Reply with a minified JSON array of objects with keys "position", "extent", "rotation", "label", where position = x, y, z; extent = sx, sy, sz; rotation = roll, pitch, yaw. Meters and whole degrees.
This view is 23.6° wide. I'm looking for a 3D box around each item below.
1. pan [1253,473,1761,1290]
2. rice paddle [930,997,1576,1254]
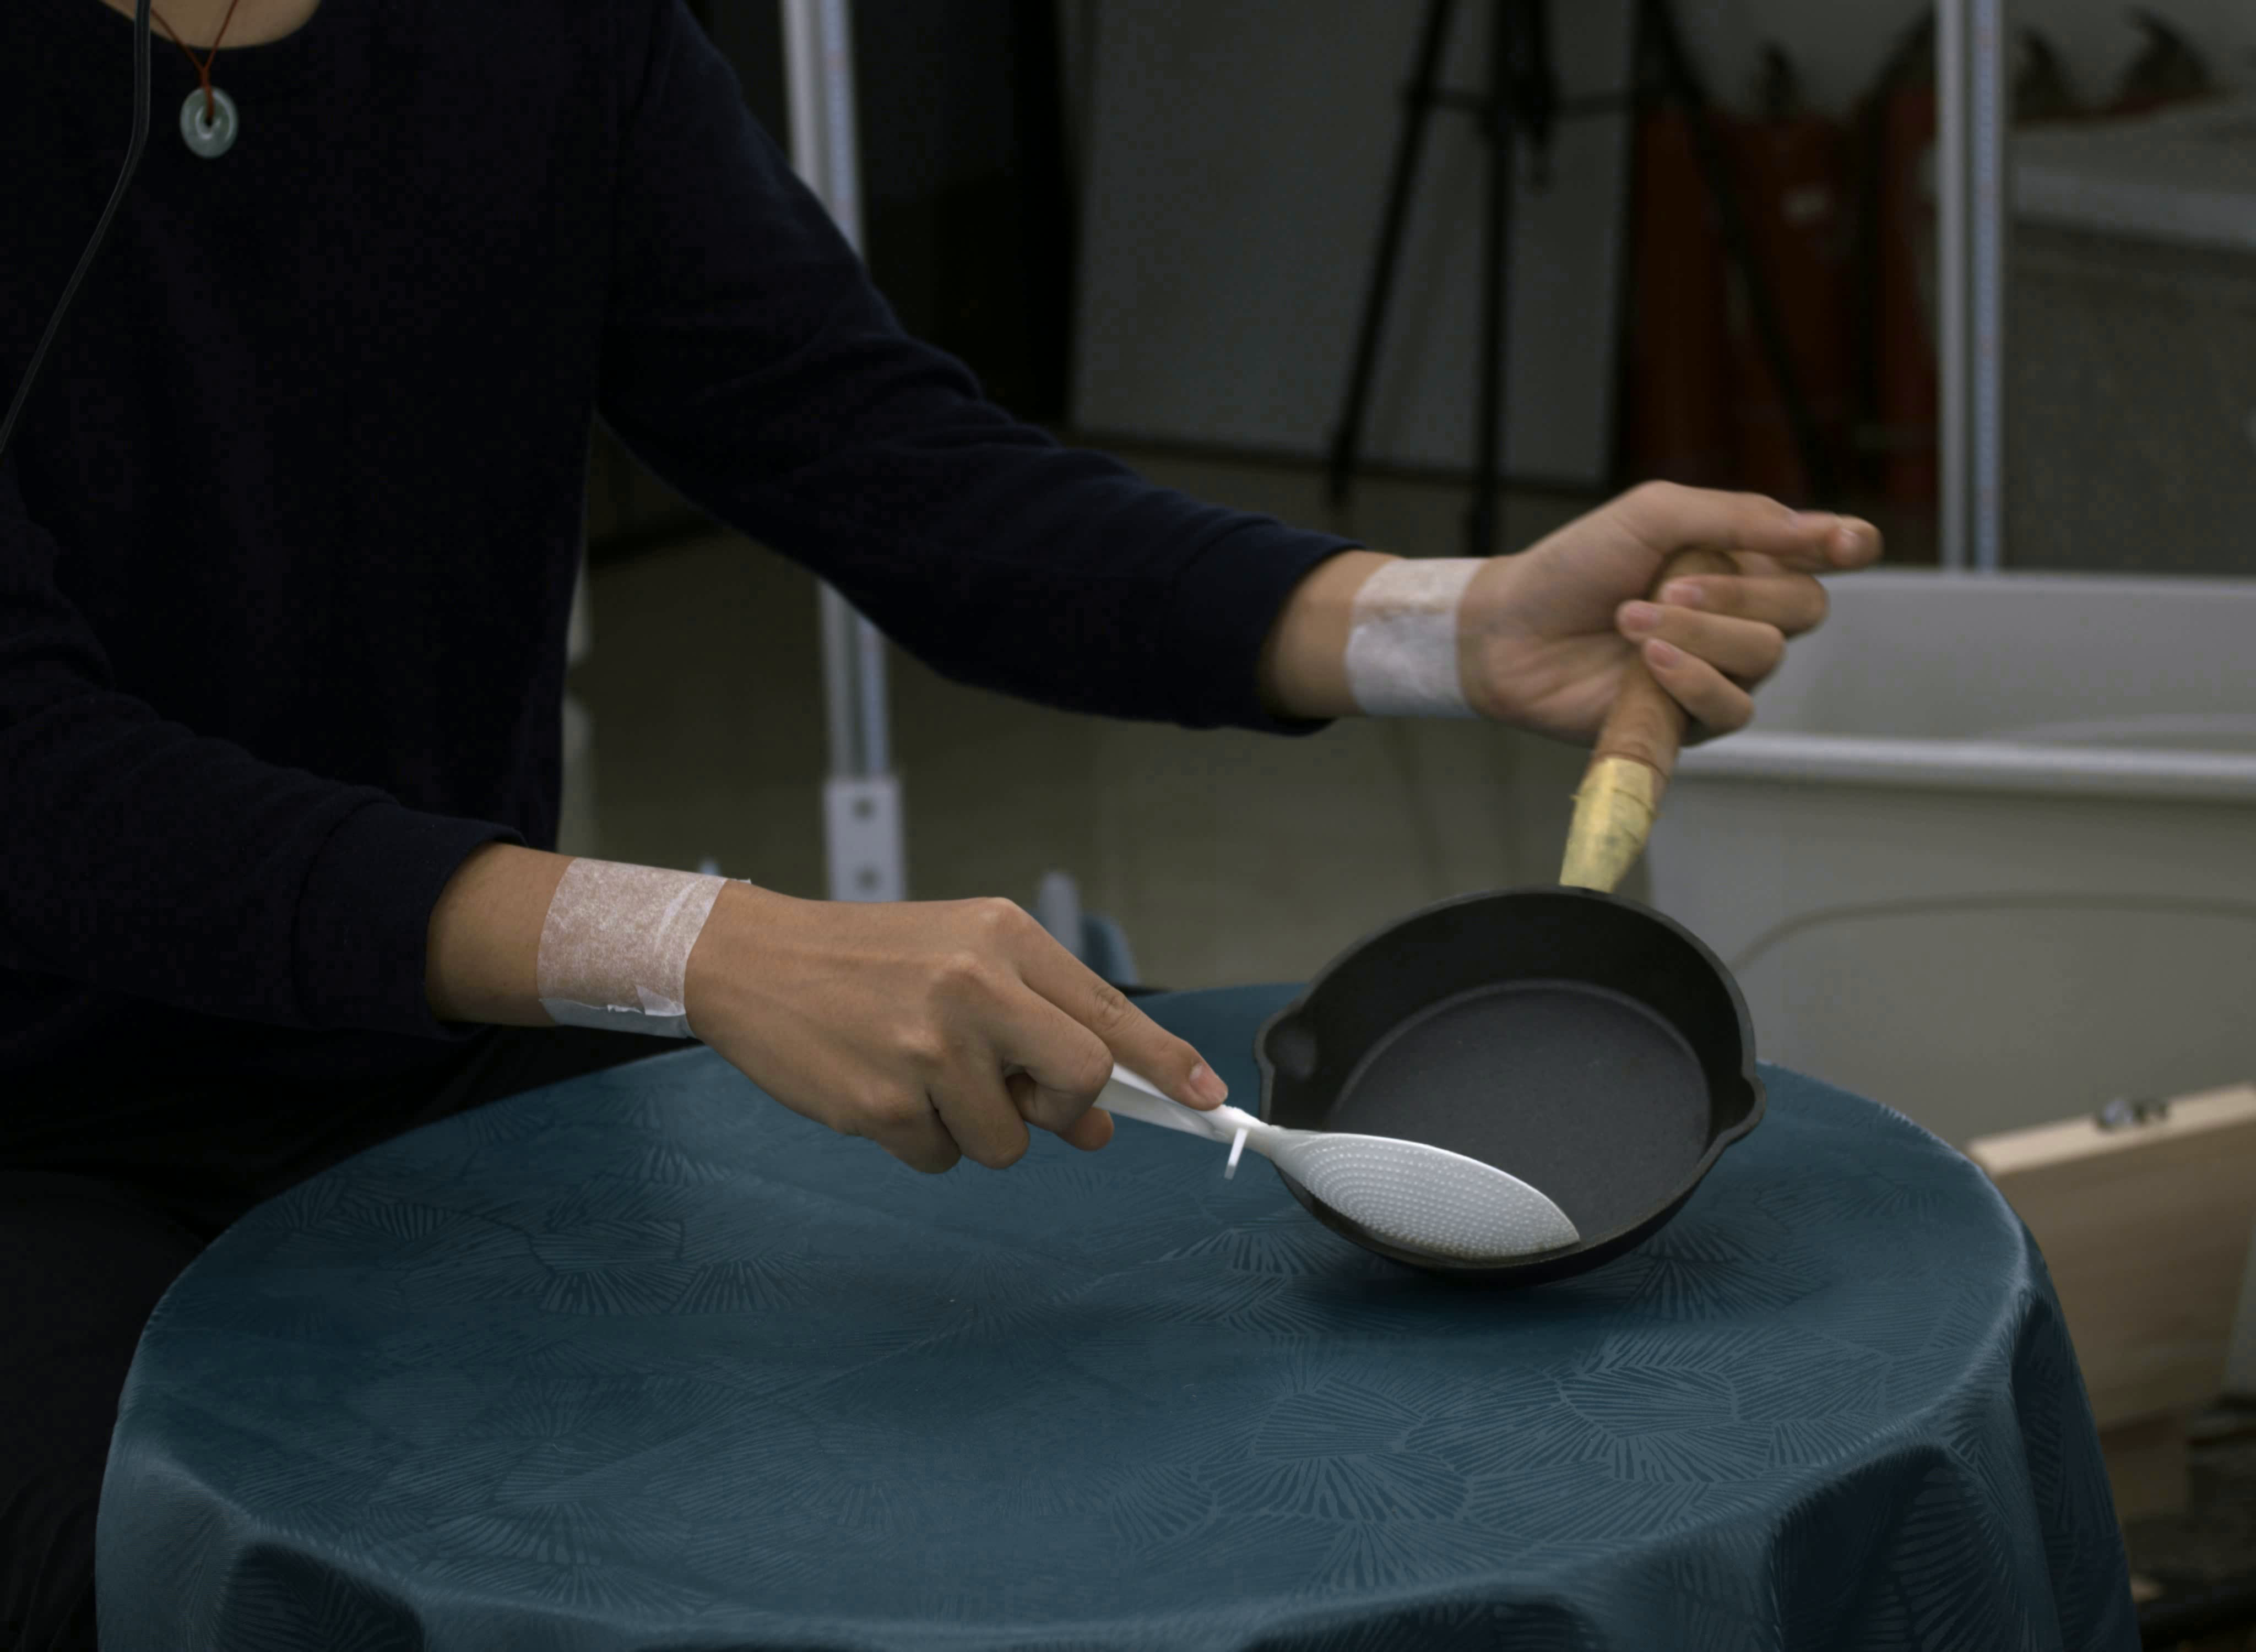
[{"position":[0.148,0.017,1.727],"extent":[0.169,0.049,0.324],"rotation":[7,52,25],"label":"pan"},{"position":[0.040,0.095,1.642],"extent":[0.203,0.029,0.069],"rotation":[17,-26,5],"label":"rice paddle"}]
